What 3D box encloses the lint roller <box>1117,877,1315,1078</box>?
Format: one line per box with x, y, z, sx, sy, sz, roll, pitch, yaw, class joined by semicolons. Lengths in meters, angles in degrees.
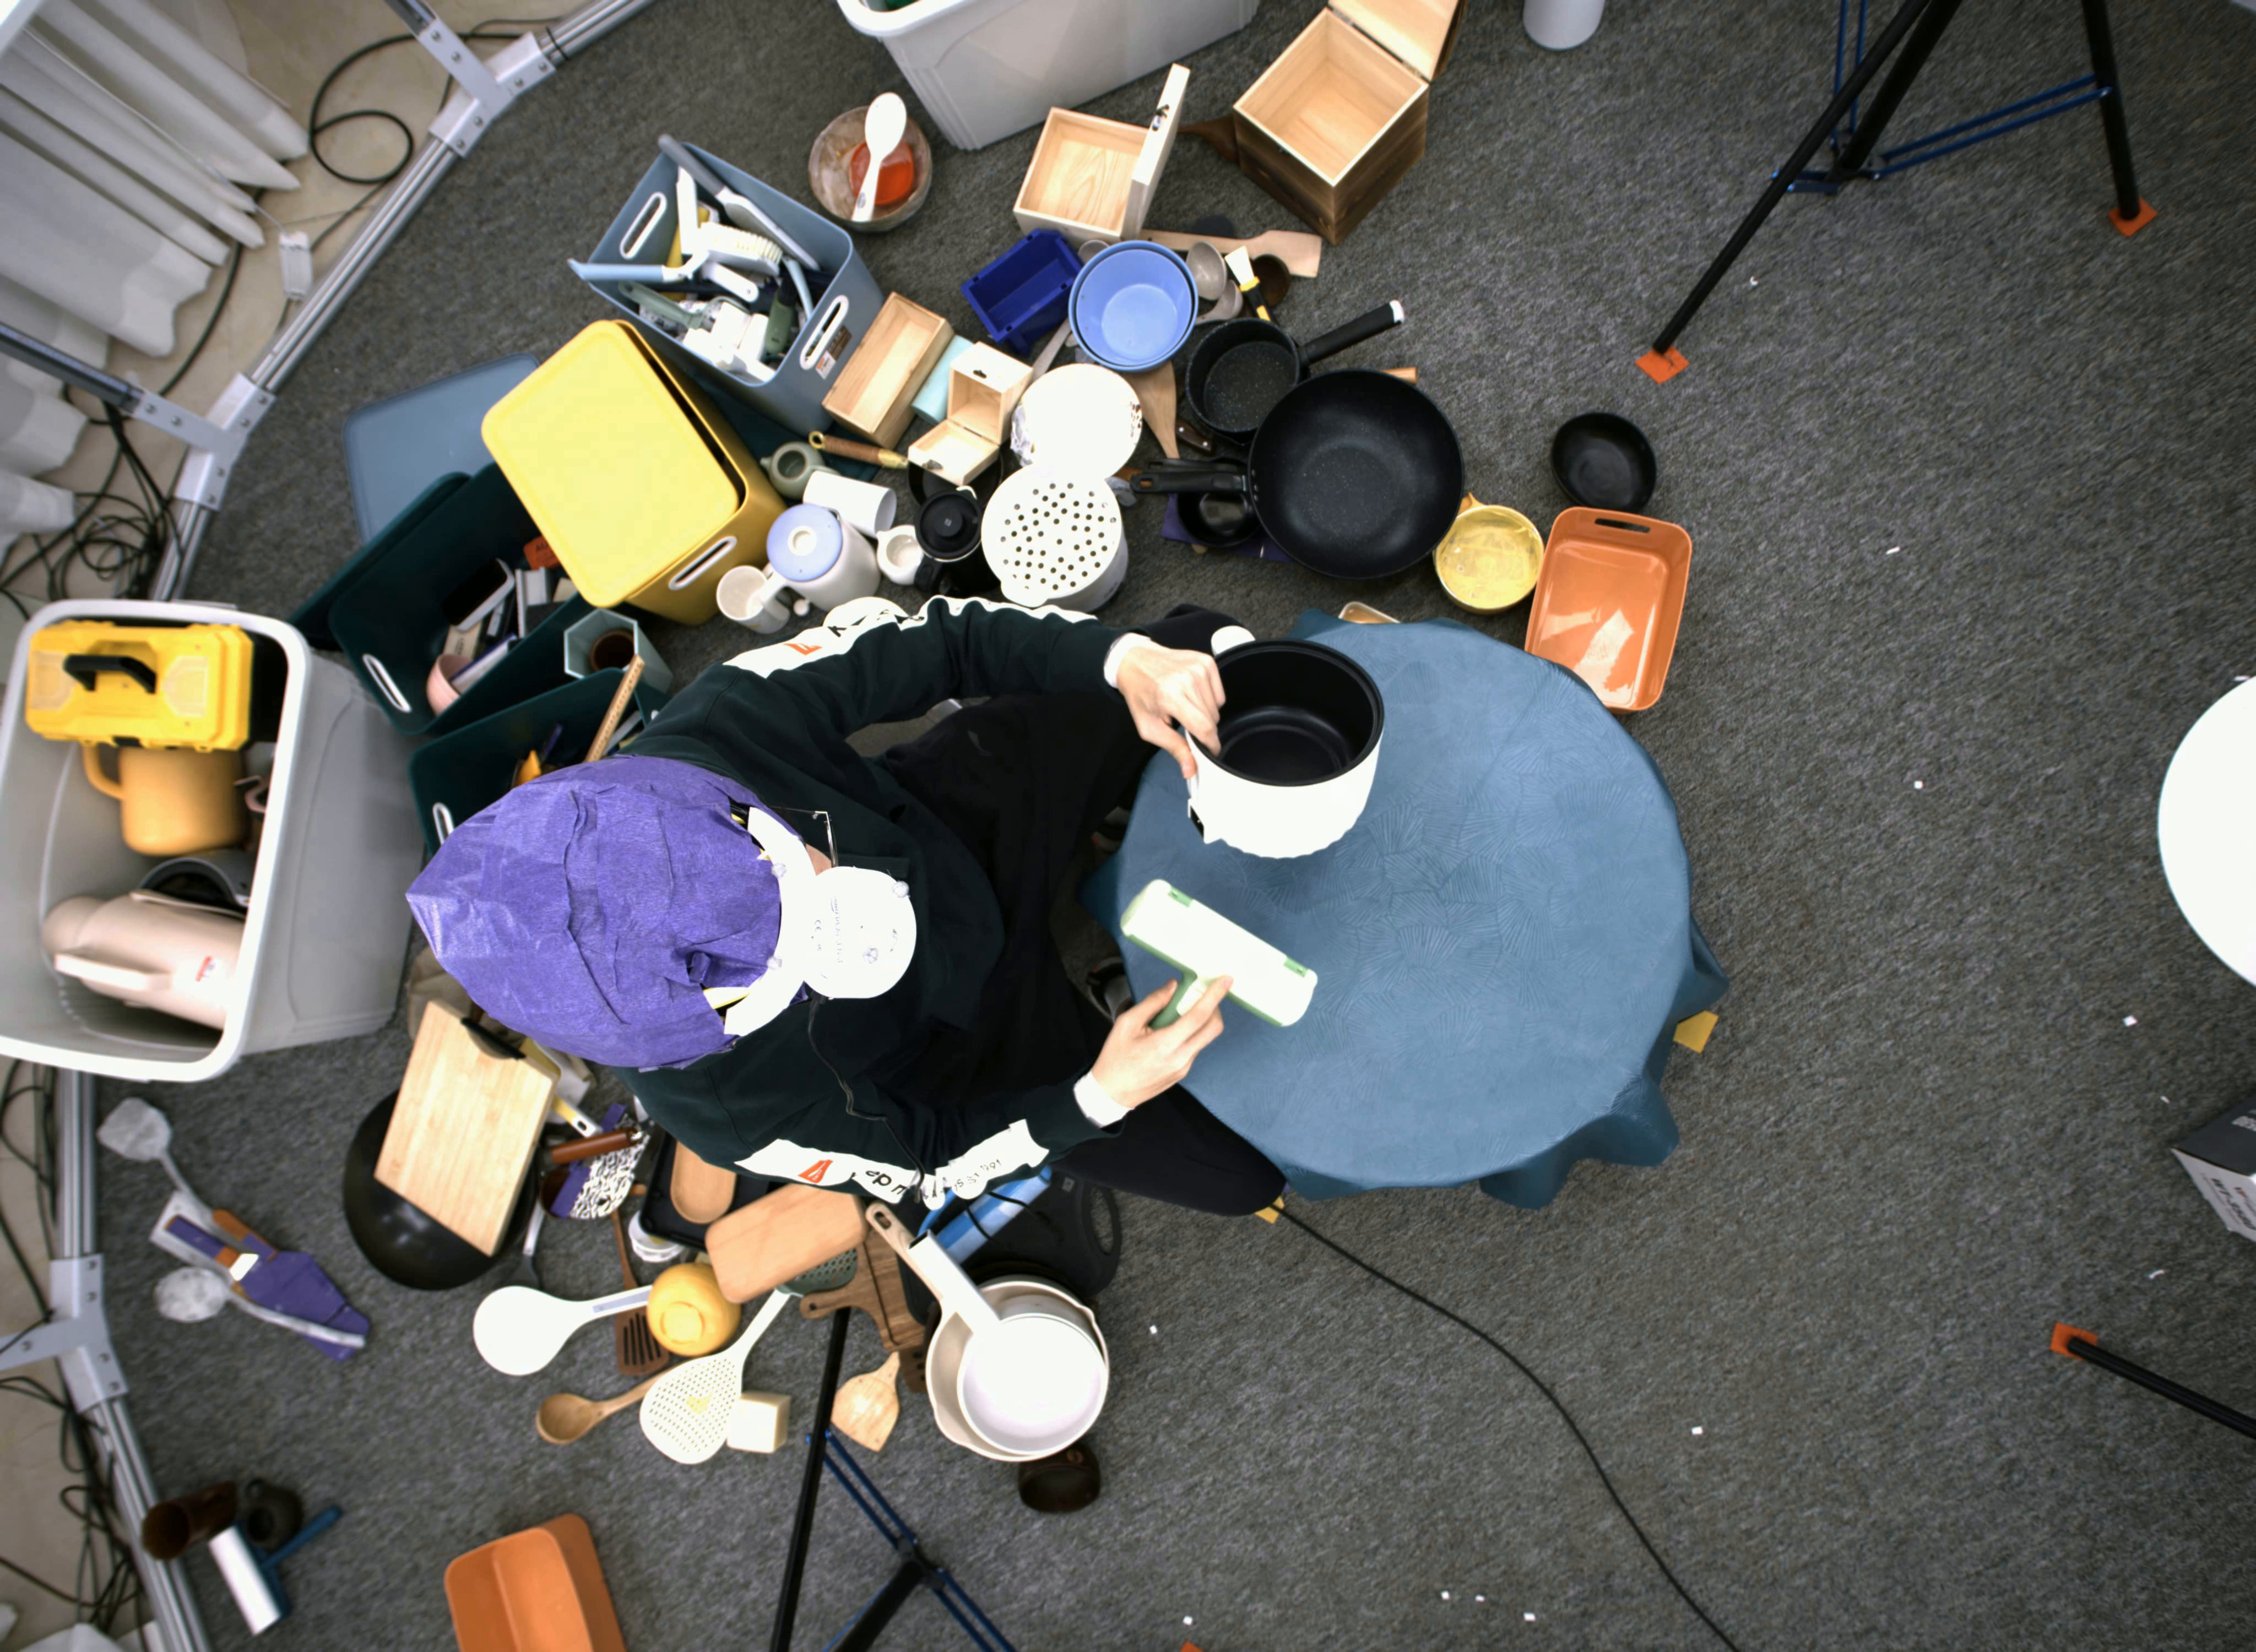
0.057;0.172;1.334;0.199;0.082;0.184;31;93;-12;lint roller

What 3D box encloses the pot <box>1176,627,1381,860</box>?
0.143;-0.068;1.289;0.189;0.146;0.236;-23;57;-10;pot
